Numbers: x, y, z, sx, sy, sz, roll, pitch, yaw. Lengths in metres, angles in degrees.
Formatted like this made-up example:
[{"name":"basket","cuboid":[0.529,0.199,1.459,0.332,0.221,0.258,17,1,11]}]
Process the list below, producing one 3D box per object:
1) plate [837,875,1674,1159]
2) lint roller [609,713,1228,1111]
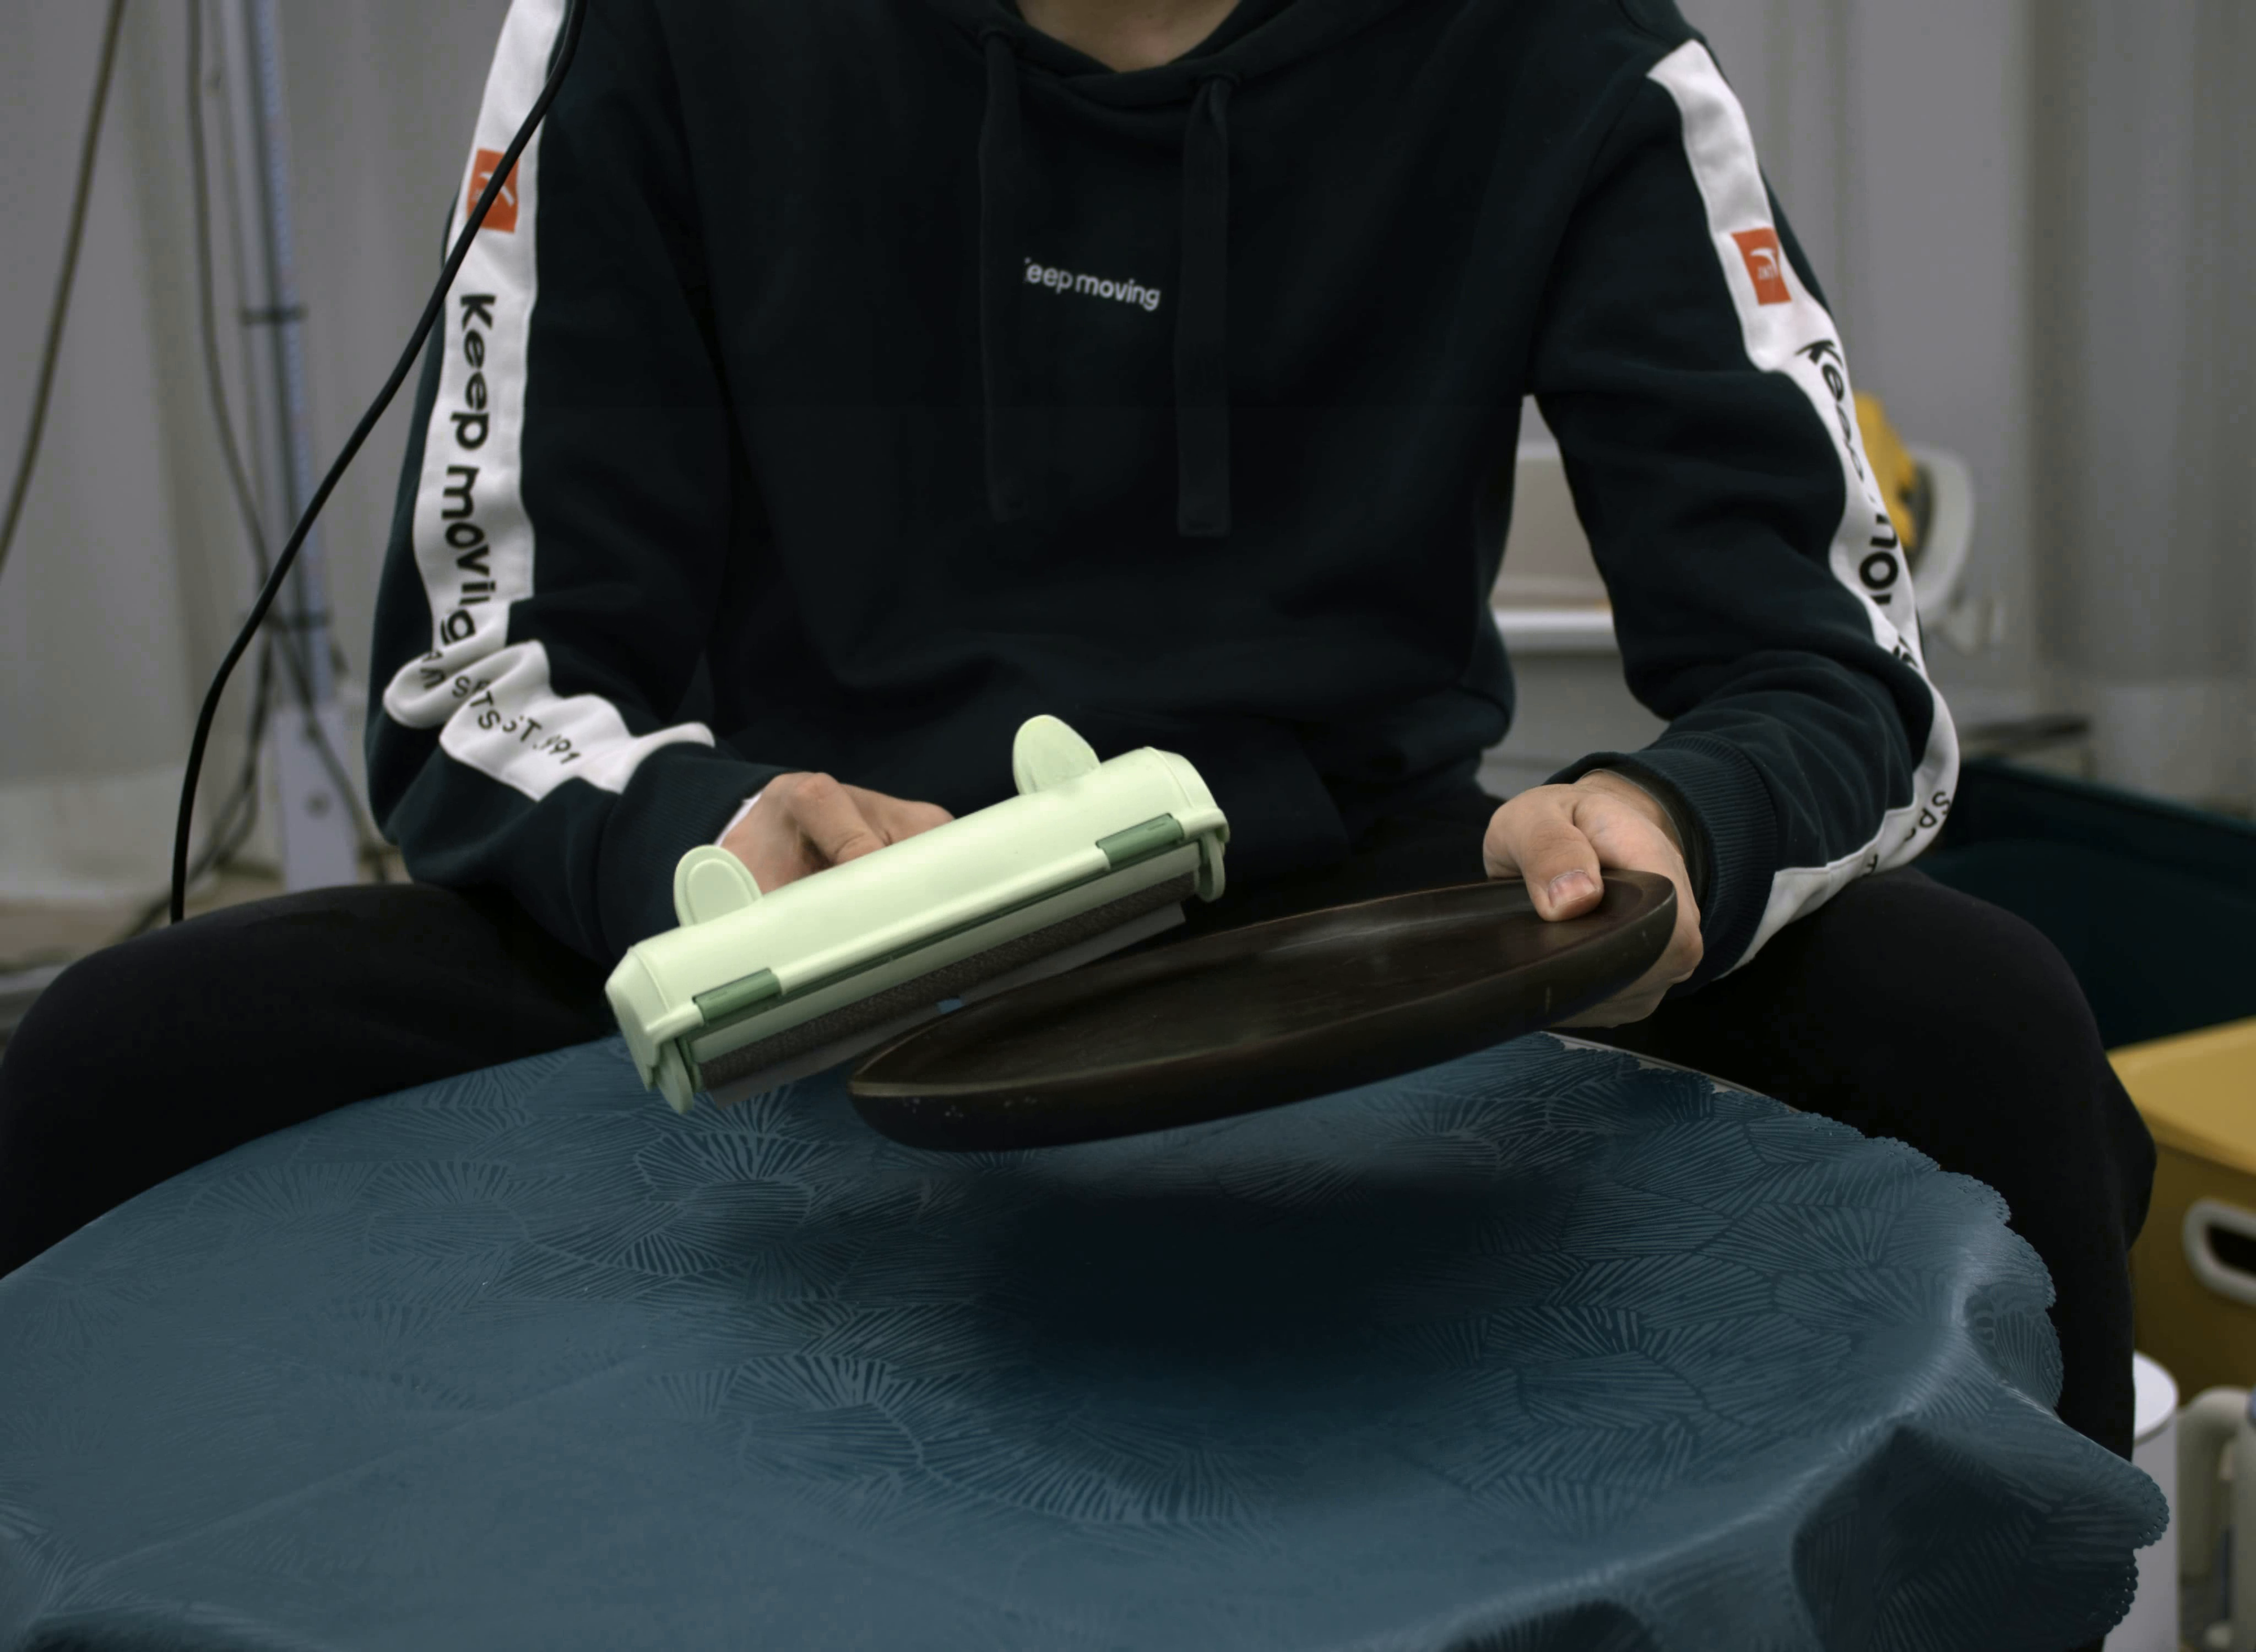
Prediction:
[{"name":"plate","cuboid":[0.039,0.054,1.611,0.254,0.029,0.255,-15,6,1]},{"name":"lint roller","cuboid":[-0.084,0.014,1.759,0.198,0.082,0.184,-21,17,-14]}]
